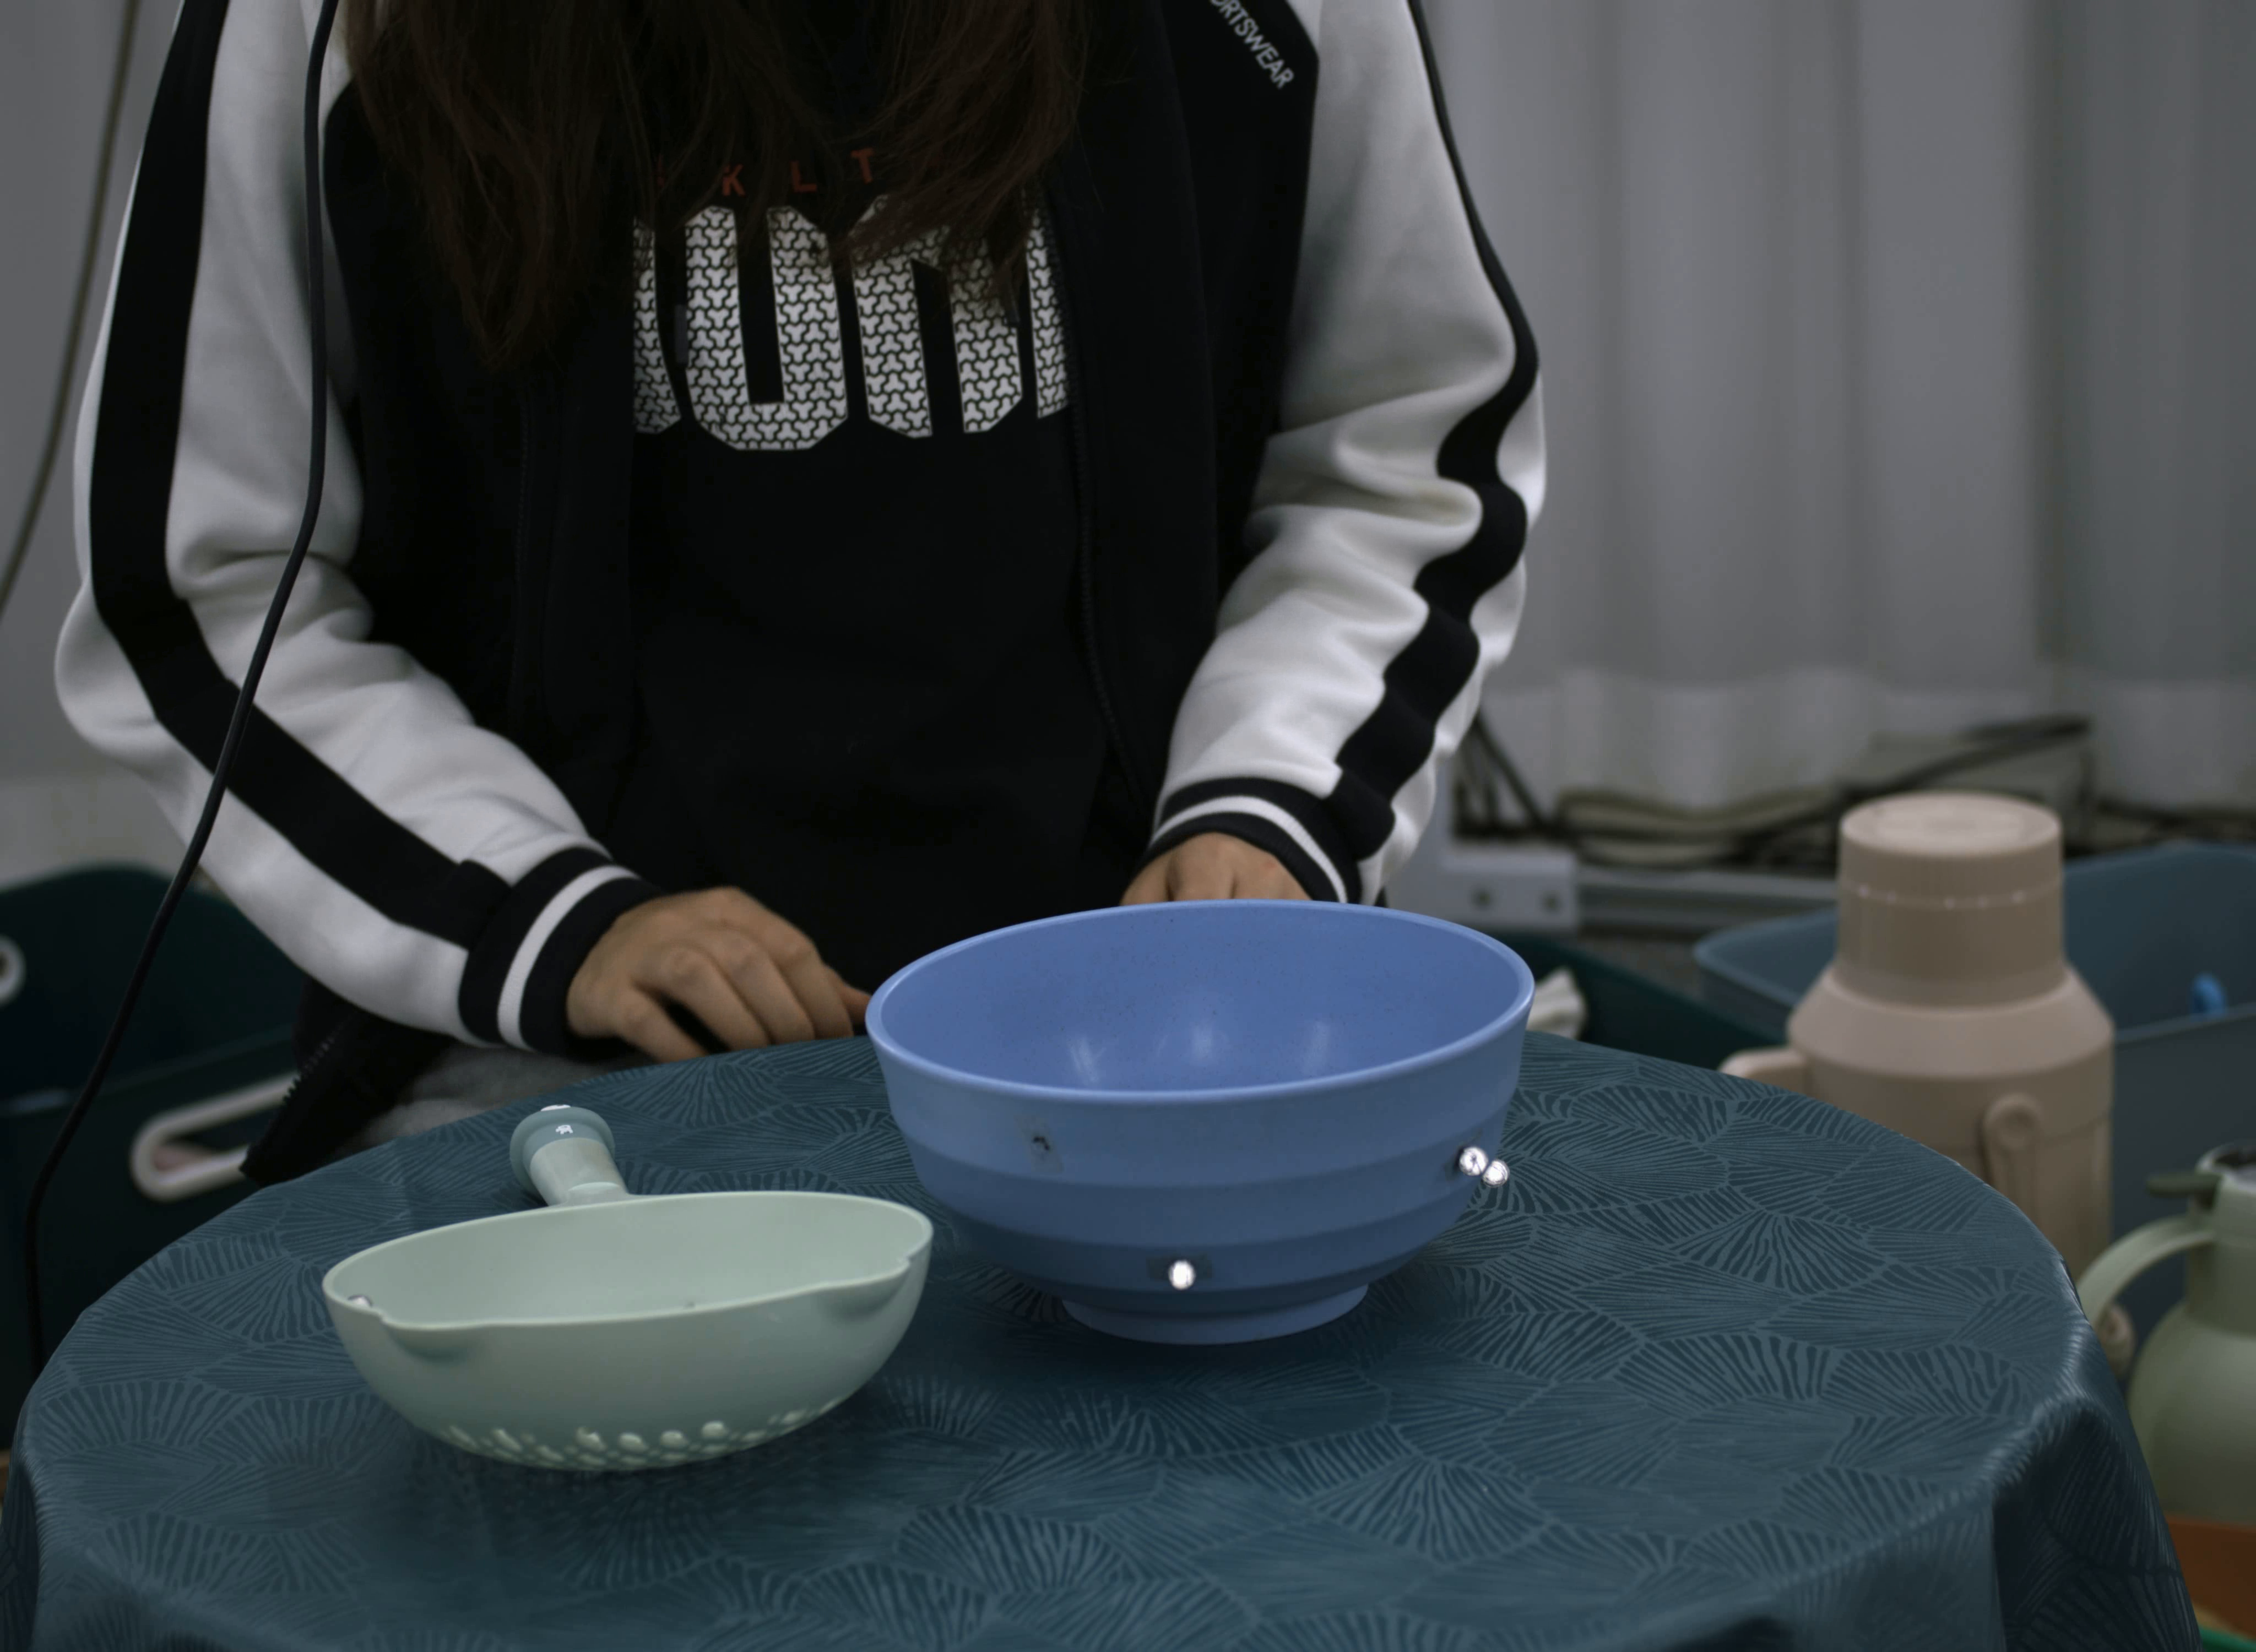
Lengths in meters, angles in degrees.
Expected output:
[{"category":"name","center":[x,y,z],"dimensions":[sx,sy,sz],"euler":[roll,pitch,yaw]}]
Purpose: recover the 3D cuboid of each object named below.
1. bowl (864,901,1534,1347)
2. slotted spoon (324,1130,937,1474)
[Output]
[{"category":"bowl","center":[0.023,0.093,1.608],"dimensions":[0.196,0.095,0.198],"euler":[-3,14,1]},{"category":"slotted spoon","center":[-0.153,0.123,1.602],"dimensions":[0.168,0.075,0.361],"euler":[-4,13,-10]}]
